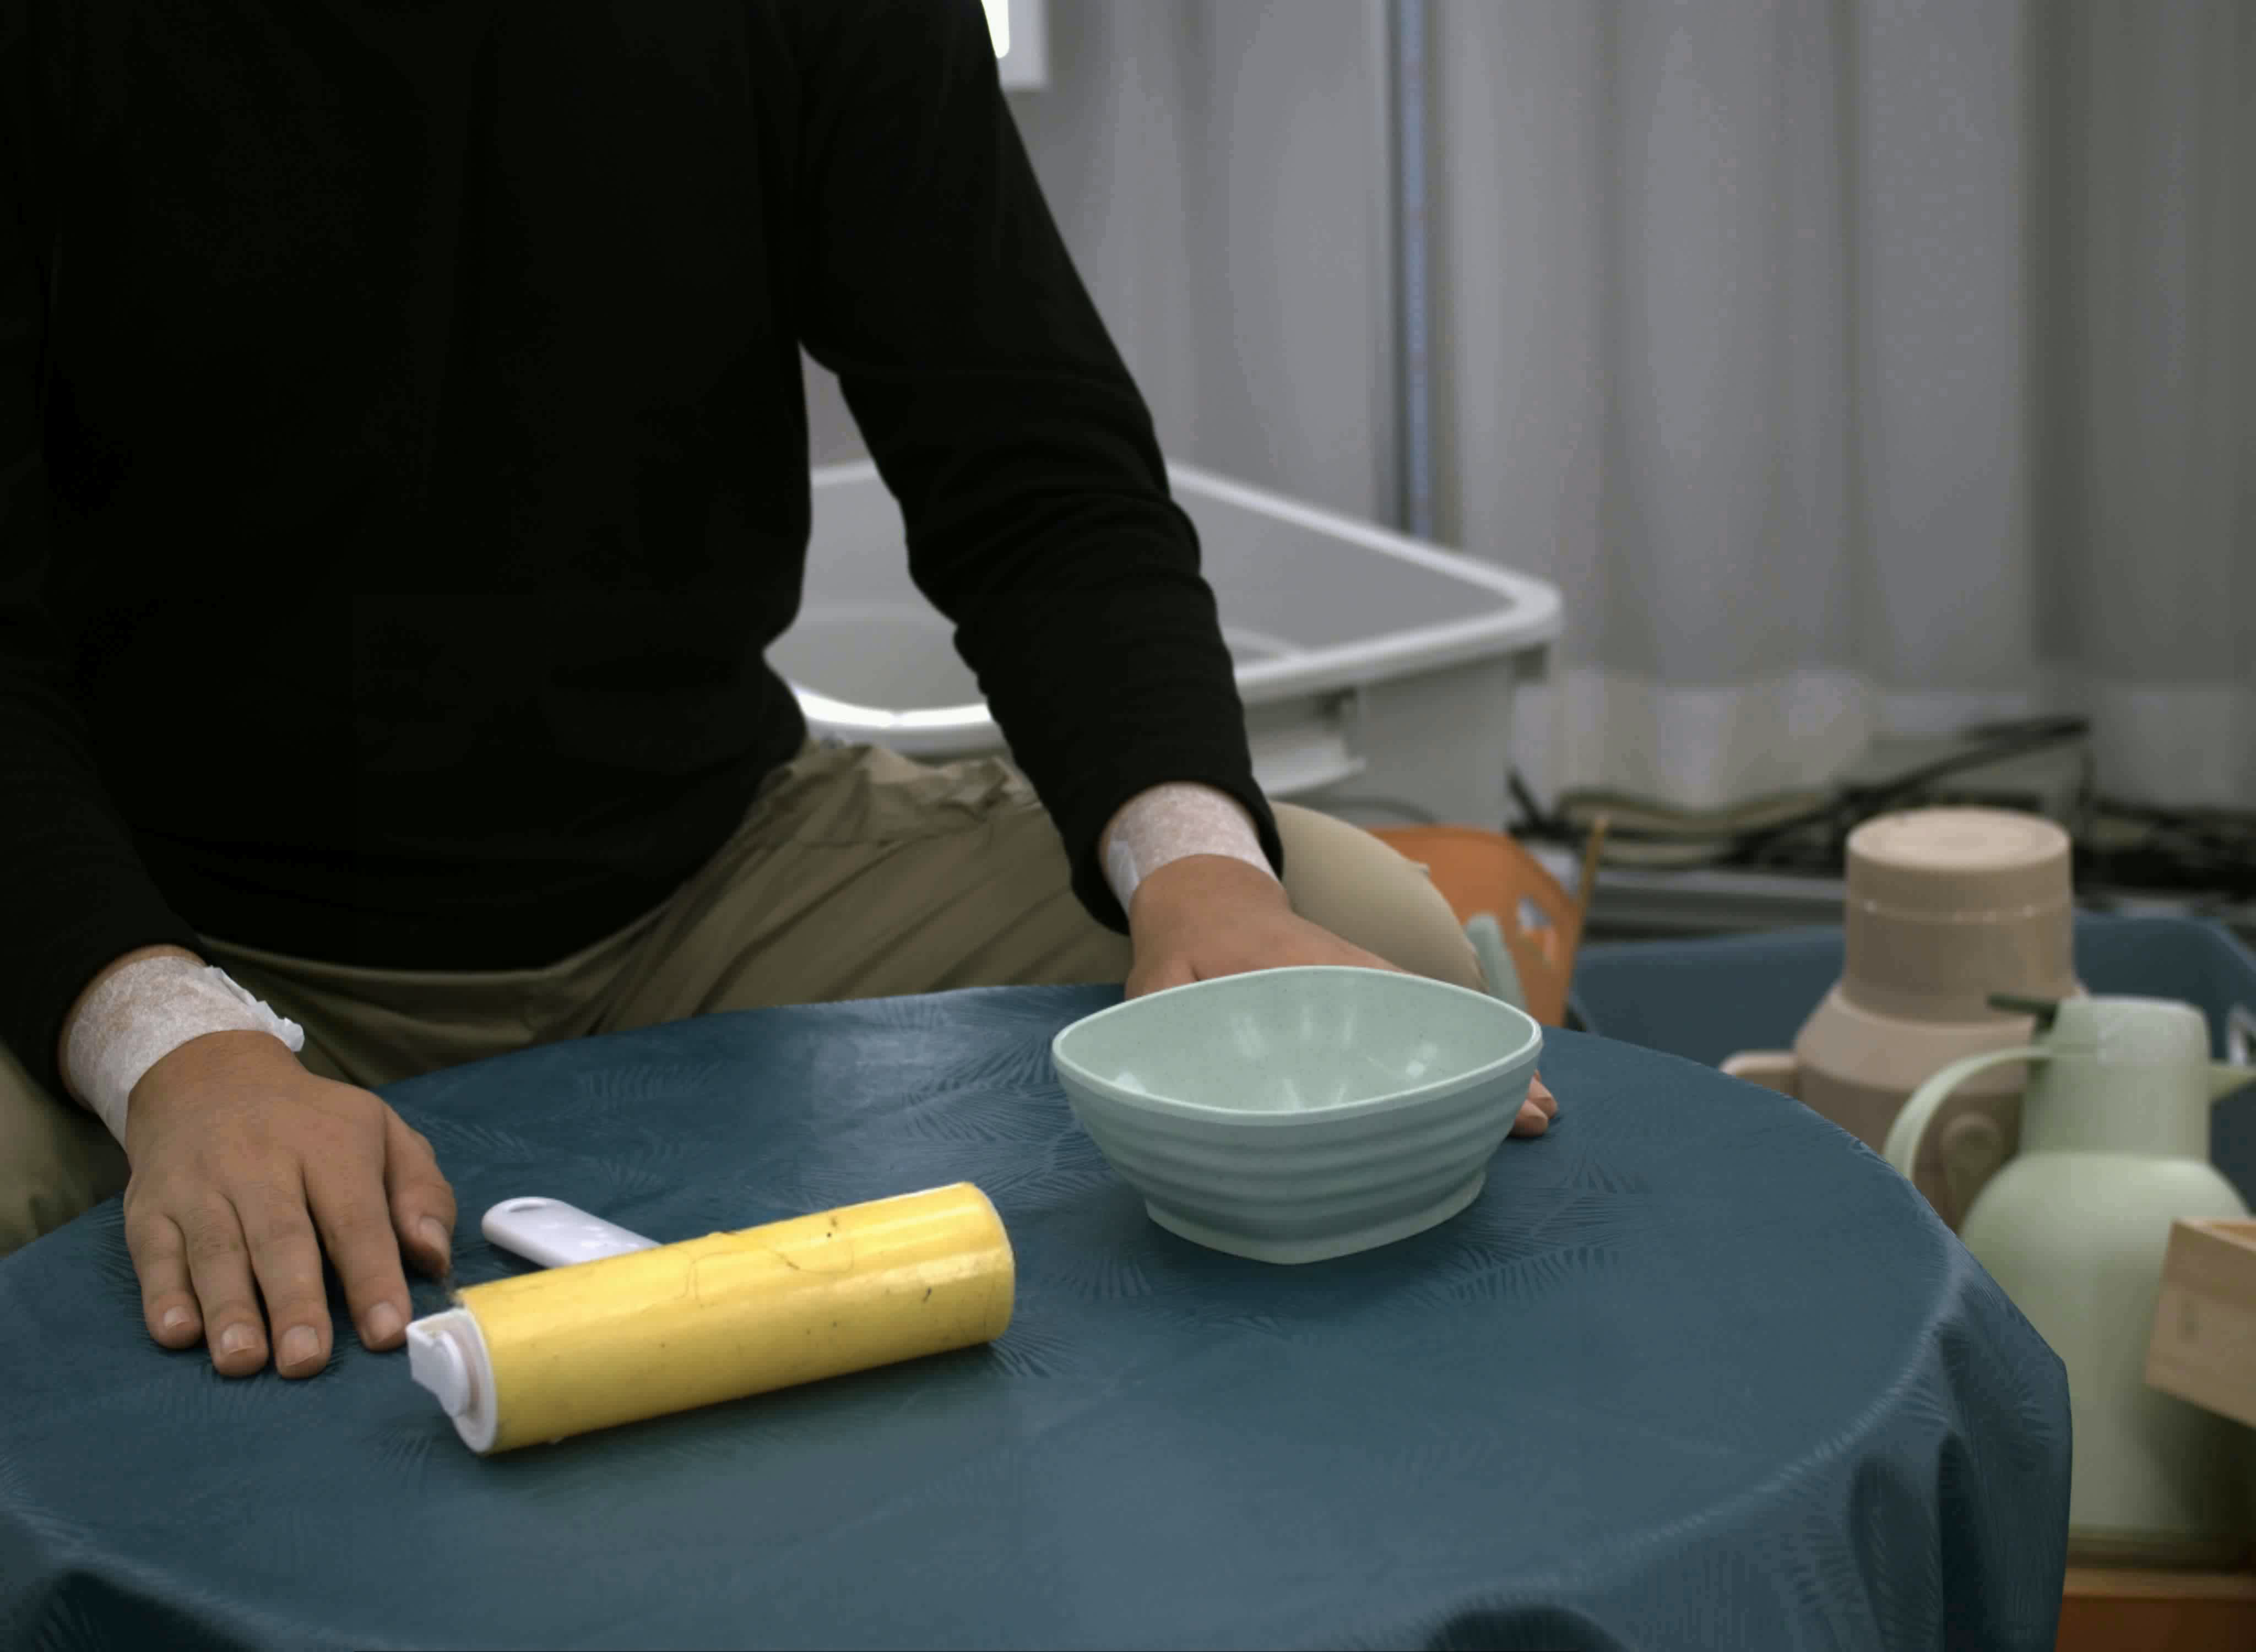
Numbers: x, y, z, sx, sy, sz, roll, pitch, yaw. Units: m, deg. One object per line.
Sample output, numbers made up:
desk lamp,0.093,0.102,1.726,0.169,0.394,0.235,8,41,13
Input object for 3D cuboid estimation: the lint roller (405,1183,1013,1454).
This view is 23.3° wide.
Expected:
lint roller,-0.150,0.122,1.612,0.173,0.051,0.194,-11,21,-28

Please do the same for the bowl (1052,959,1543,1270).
bowl,0.053,0.092,1.680,0.151,0.058,0.152,-2,16,0
